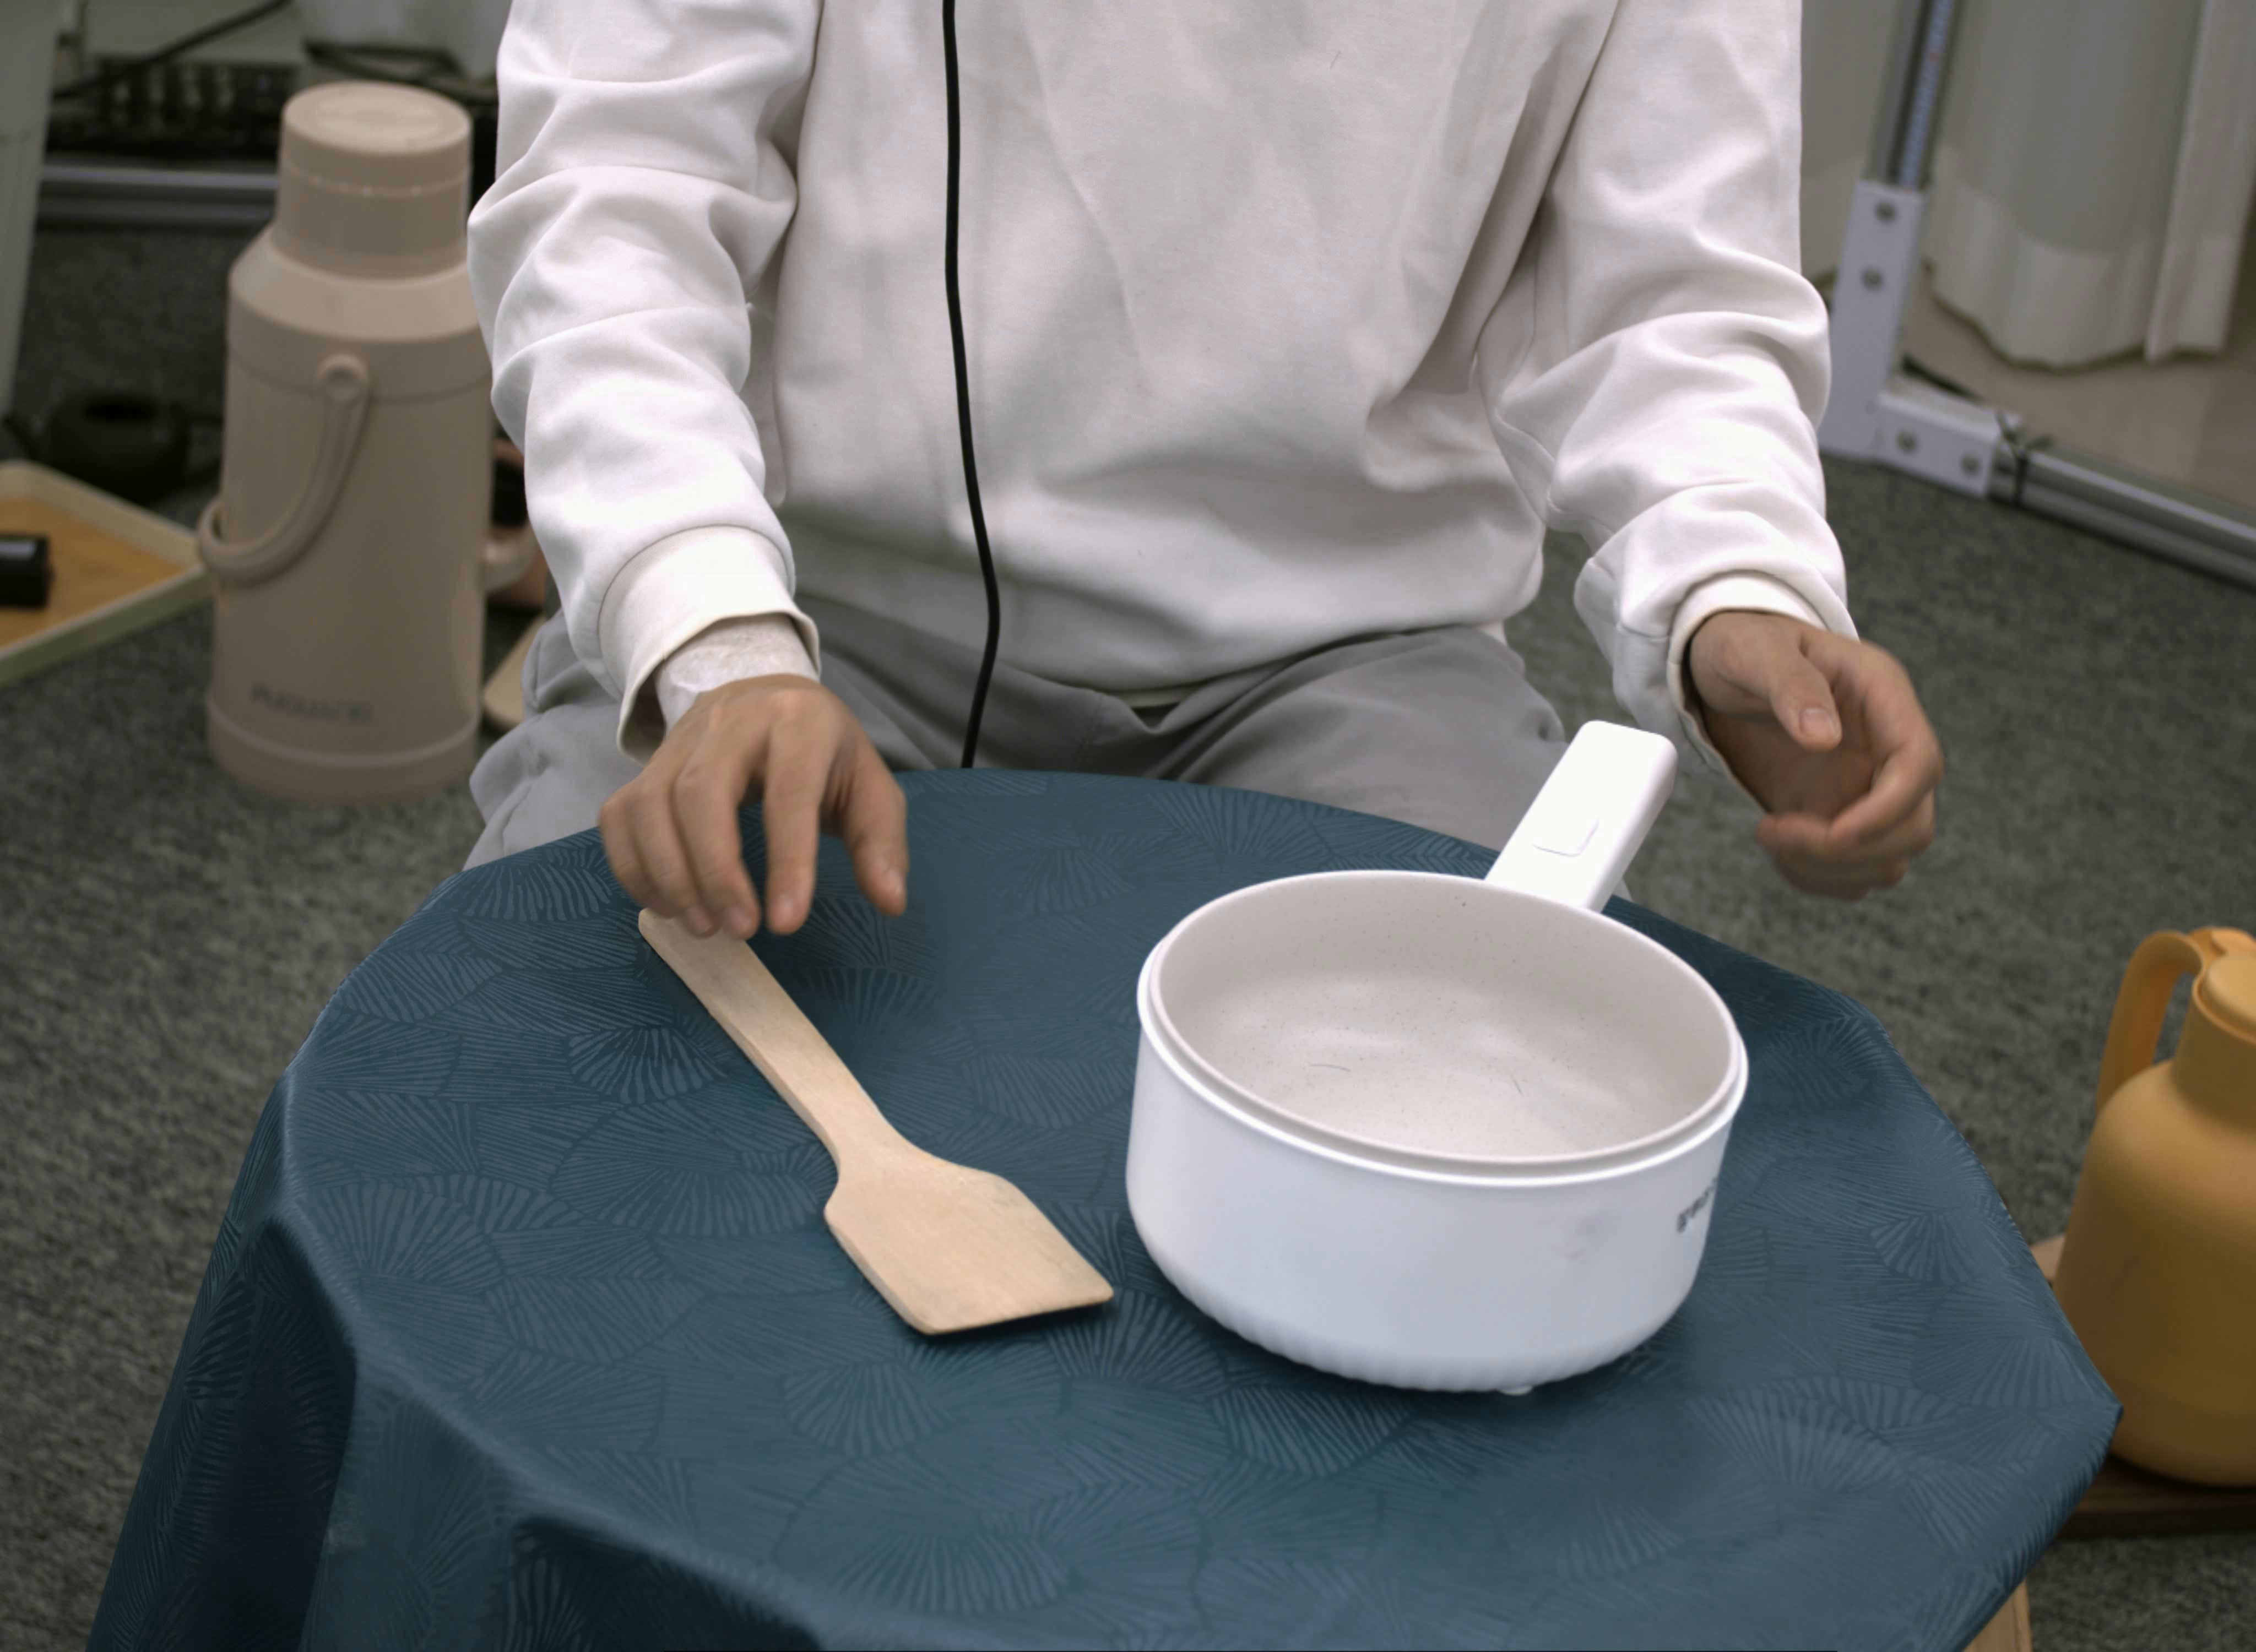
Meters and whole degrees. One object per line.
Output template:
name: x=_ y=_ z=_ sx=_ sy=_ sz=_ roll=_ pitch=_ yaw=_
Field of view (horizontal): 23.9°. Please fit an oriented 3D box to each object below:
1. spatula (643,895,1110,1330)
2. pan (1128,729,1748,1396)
spatula: x=-0.102 y=0.094 z=1.831 sx=0.072 sy=0.010 sz=0.296 roll=-10 pitch=31 yaw=-26
pan: x=0.123 y=0.076 z=1.824 sx=0.201 sy=0.102 sz=0.355 roll=13 pitch=26 yaw=15
